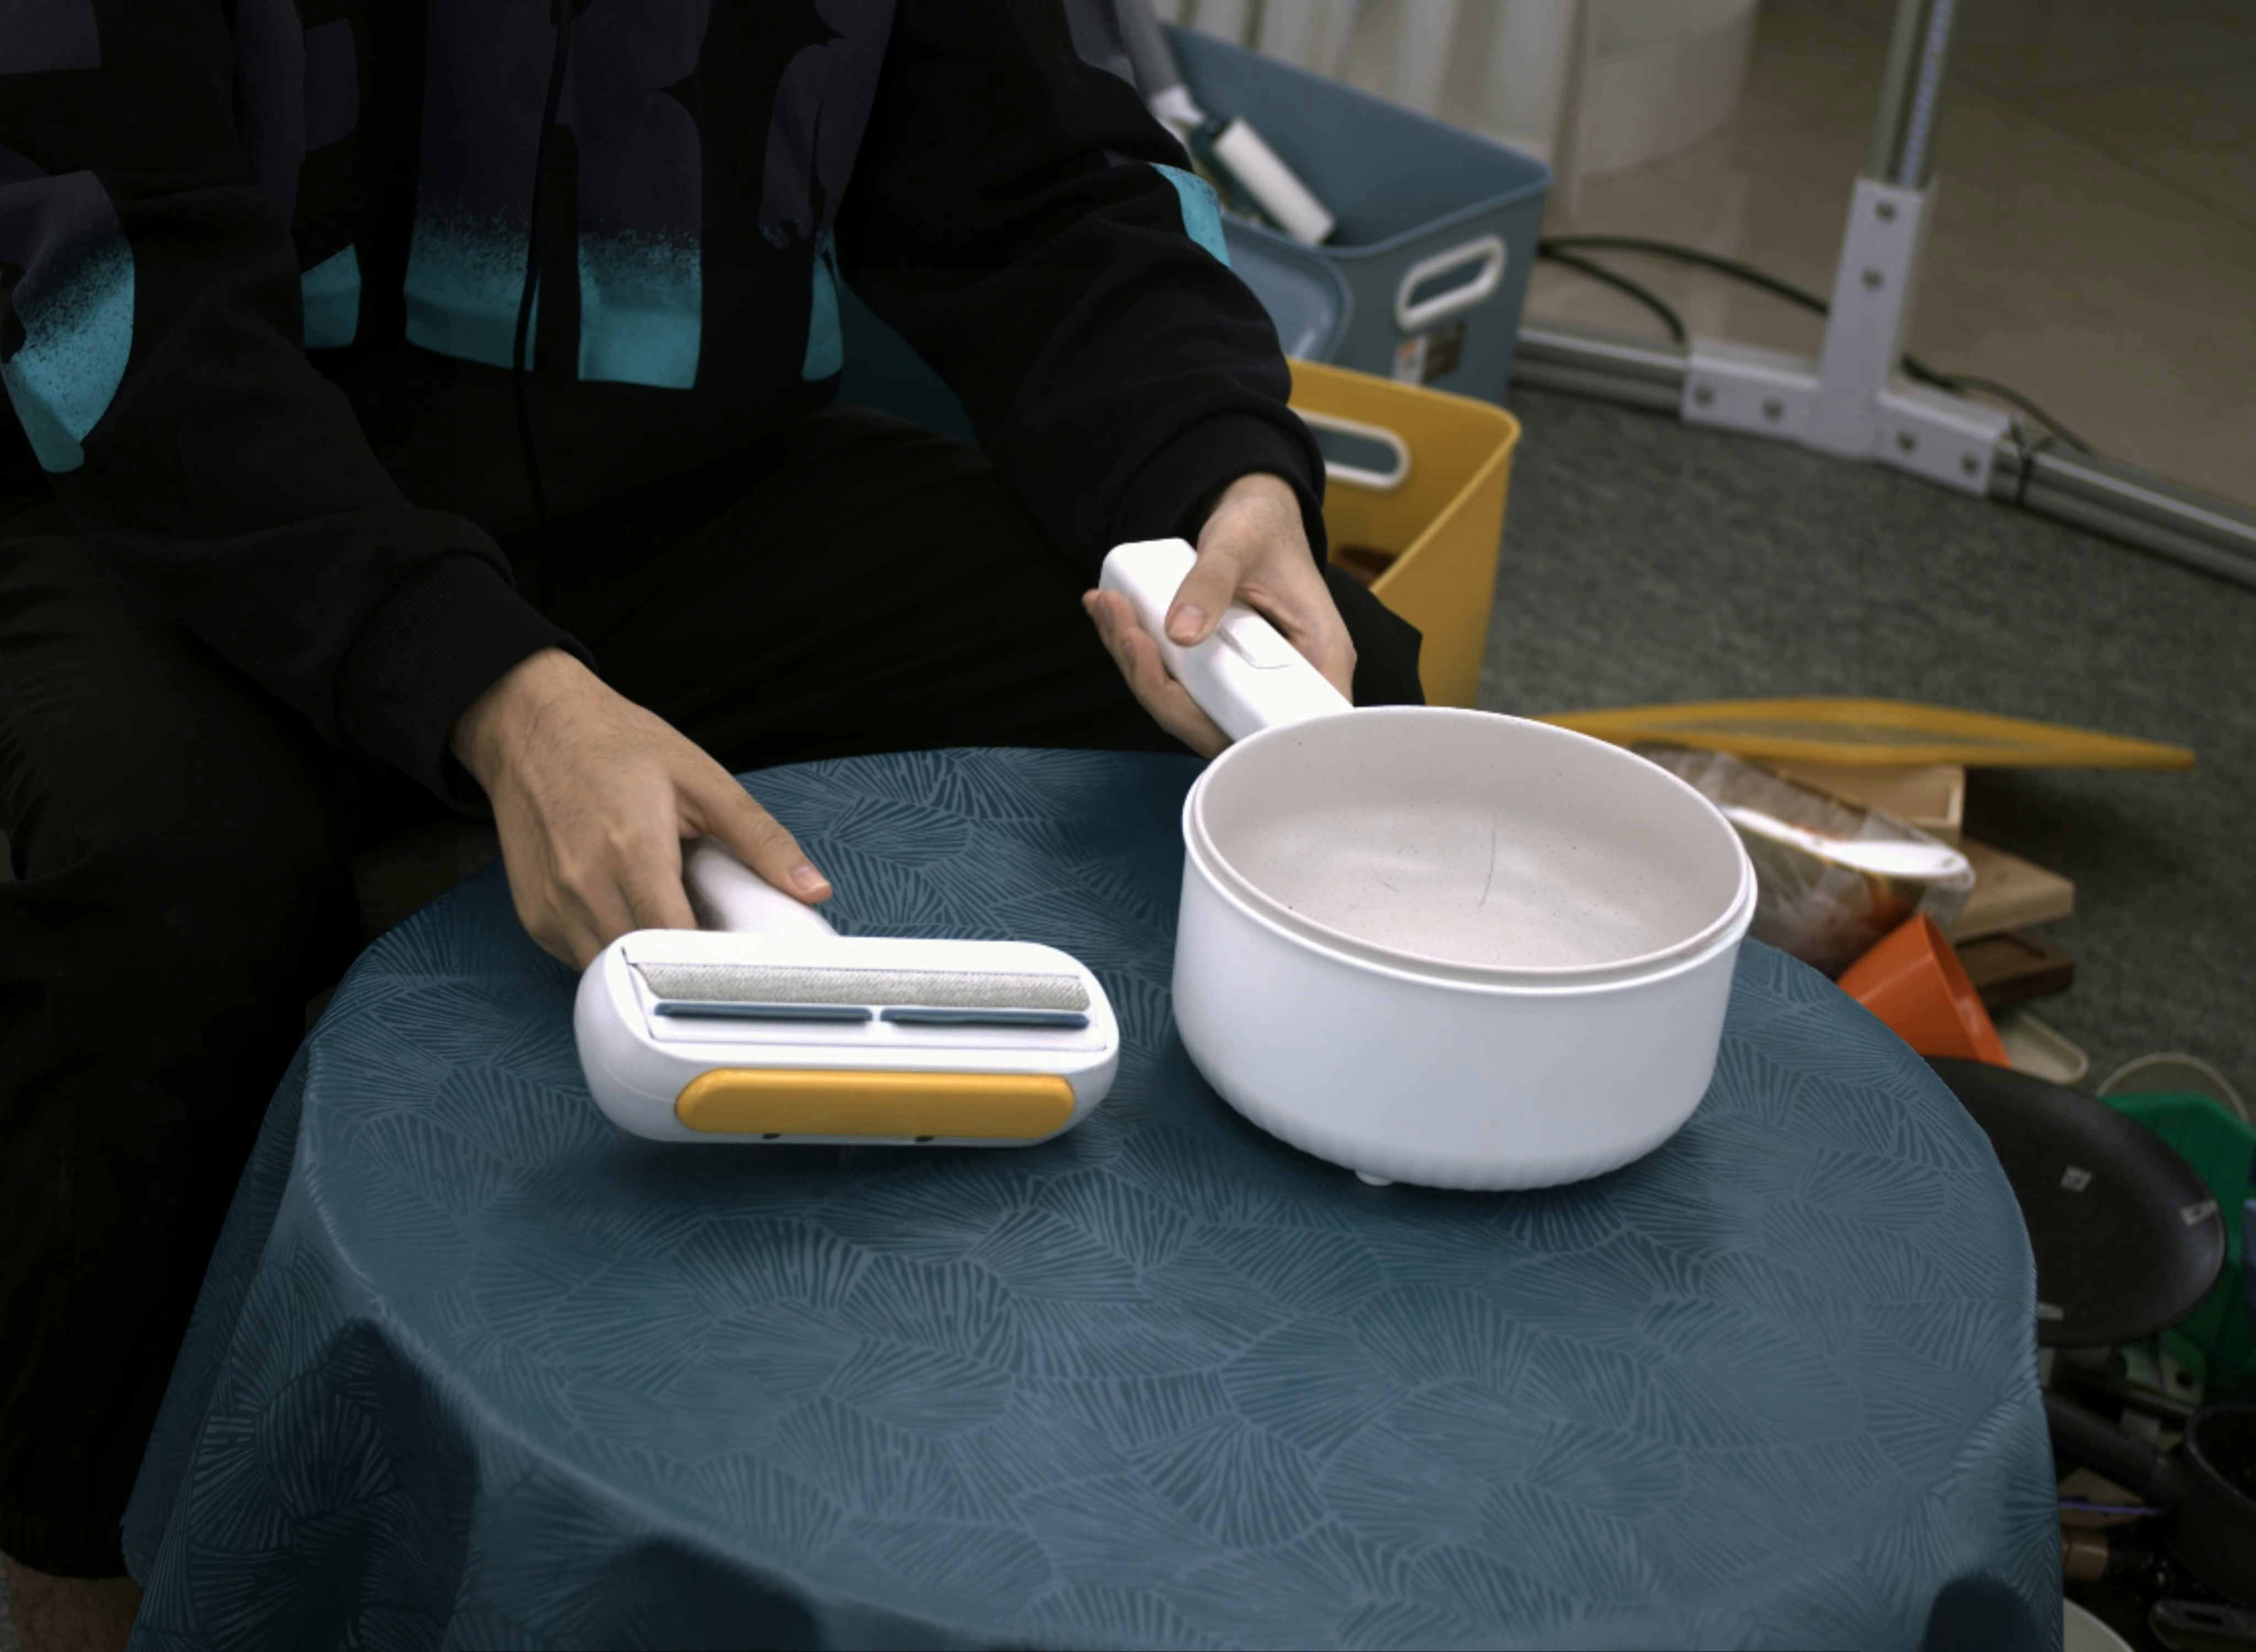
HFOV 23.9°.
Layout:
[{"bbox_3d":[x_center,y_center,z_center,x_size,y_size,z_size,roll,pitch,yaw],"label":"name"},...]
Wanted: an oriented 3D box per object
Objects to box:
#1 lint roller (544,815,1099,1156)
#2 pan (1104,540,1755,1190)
[{"bbox_3d":[-0.120,0.043,1.835,0.191,0.074,0.194,1,36,-22],"label":"lint roller"},{"bbox_3d":[0.080,0.012,1.924,0.200,0.102,0.358,-8,30,-25],"label":"pan"}]
